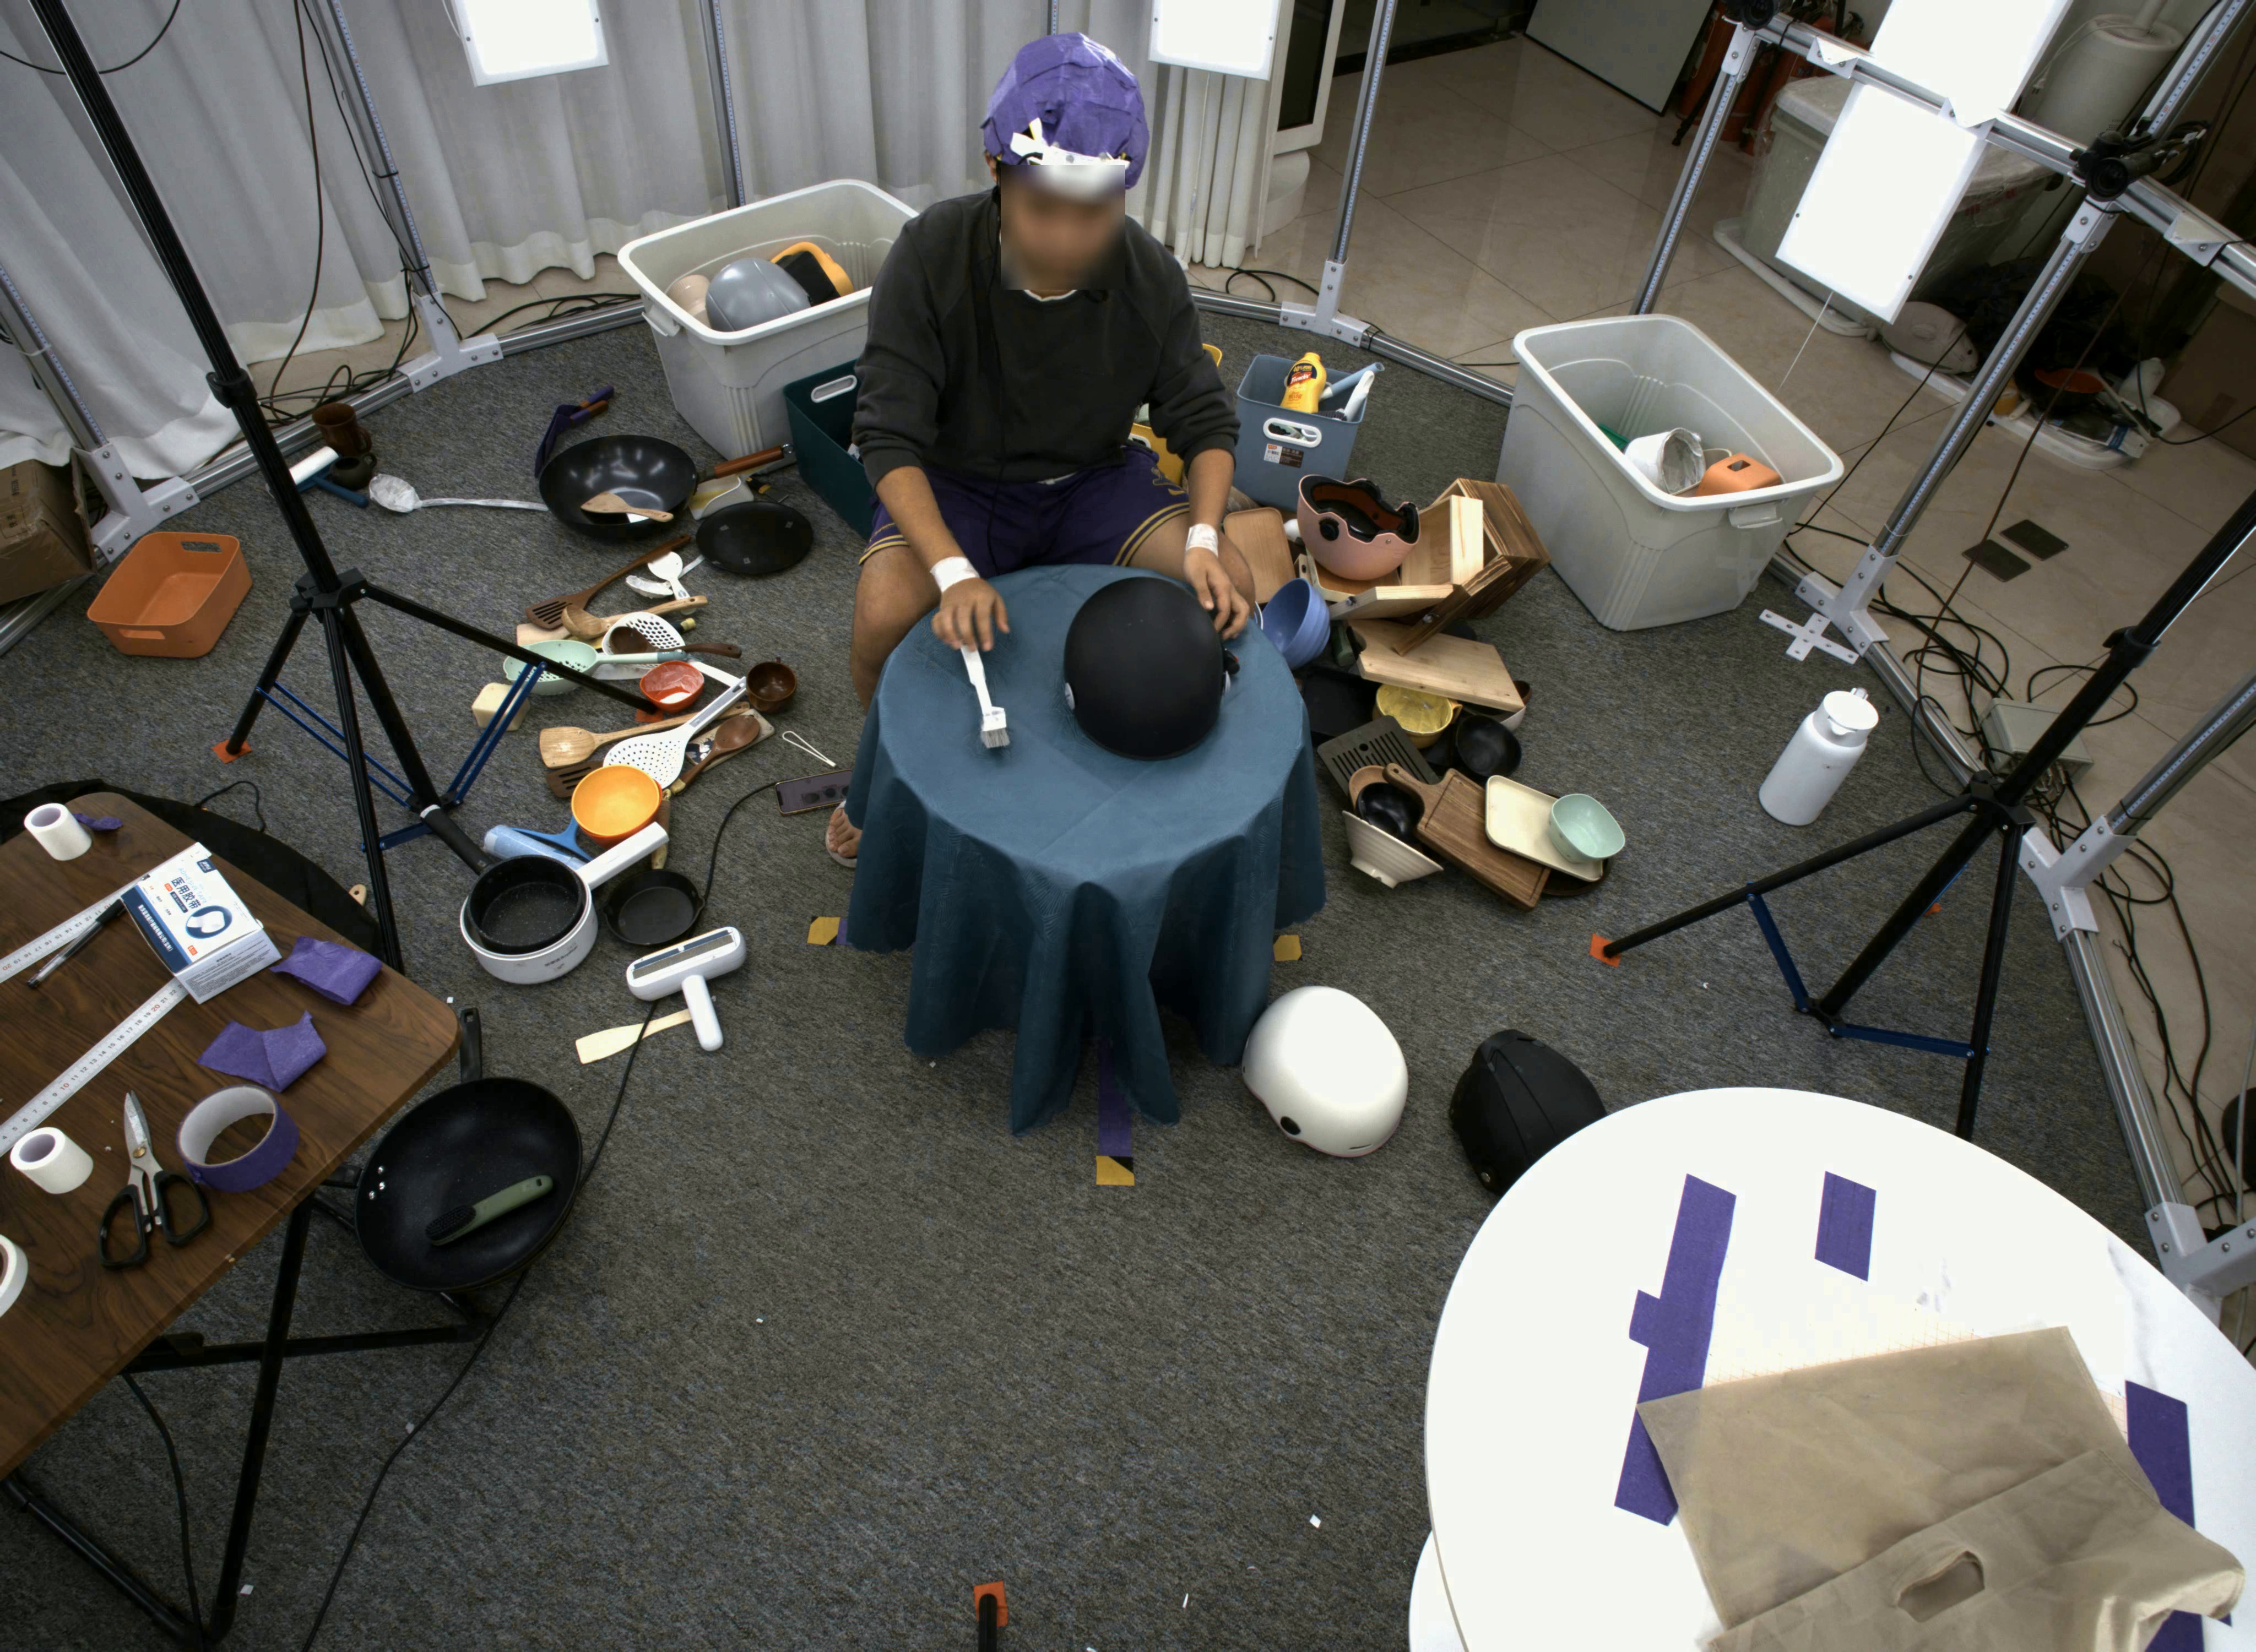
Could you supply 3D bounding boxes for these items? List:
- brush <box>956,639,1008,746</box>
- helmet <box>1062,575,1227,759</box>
[{"bbox_3d":[-0.206,-0.186,1.799,0.034,0.049,0.249,-13,38,-10],"label":"brush"},{"bbox_3d":[0.021,-0.242,1.776,0.230,0.163,0.280,-4,51,-4],"label":"helmet"}]
